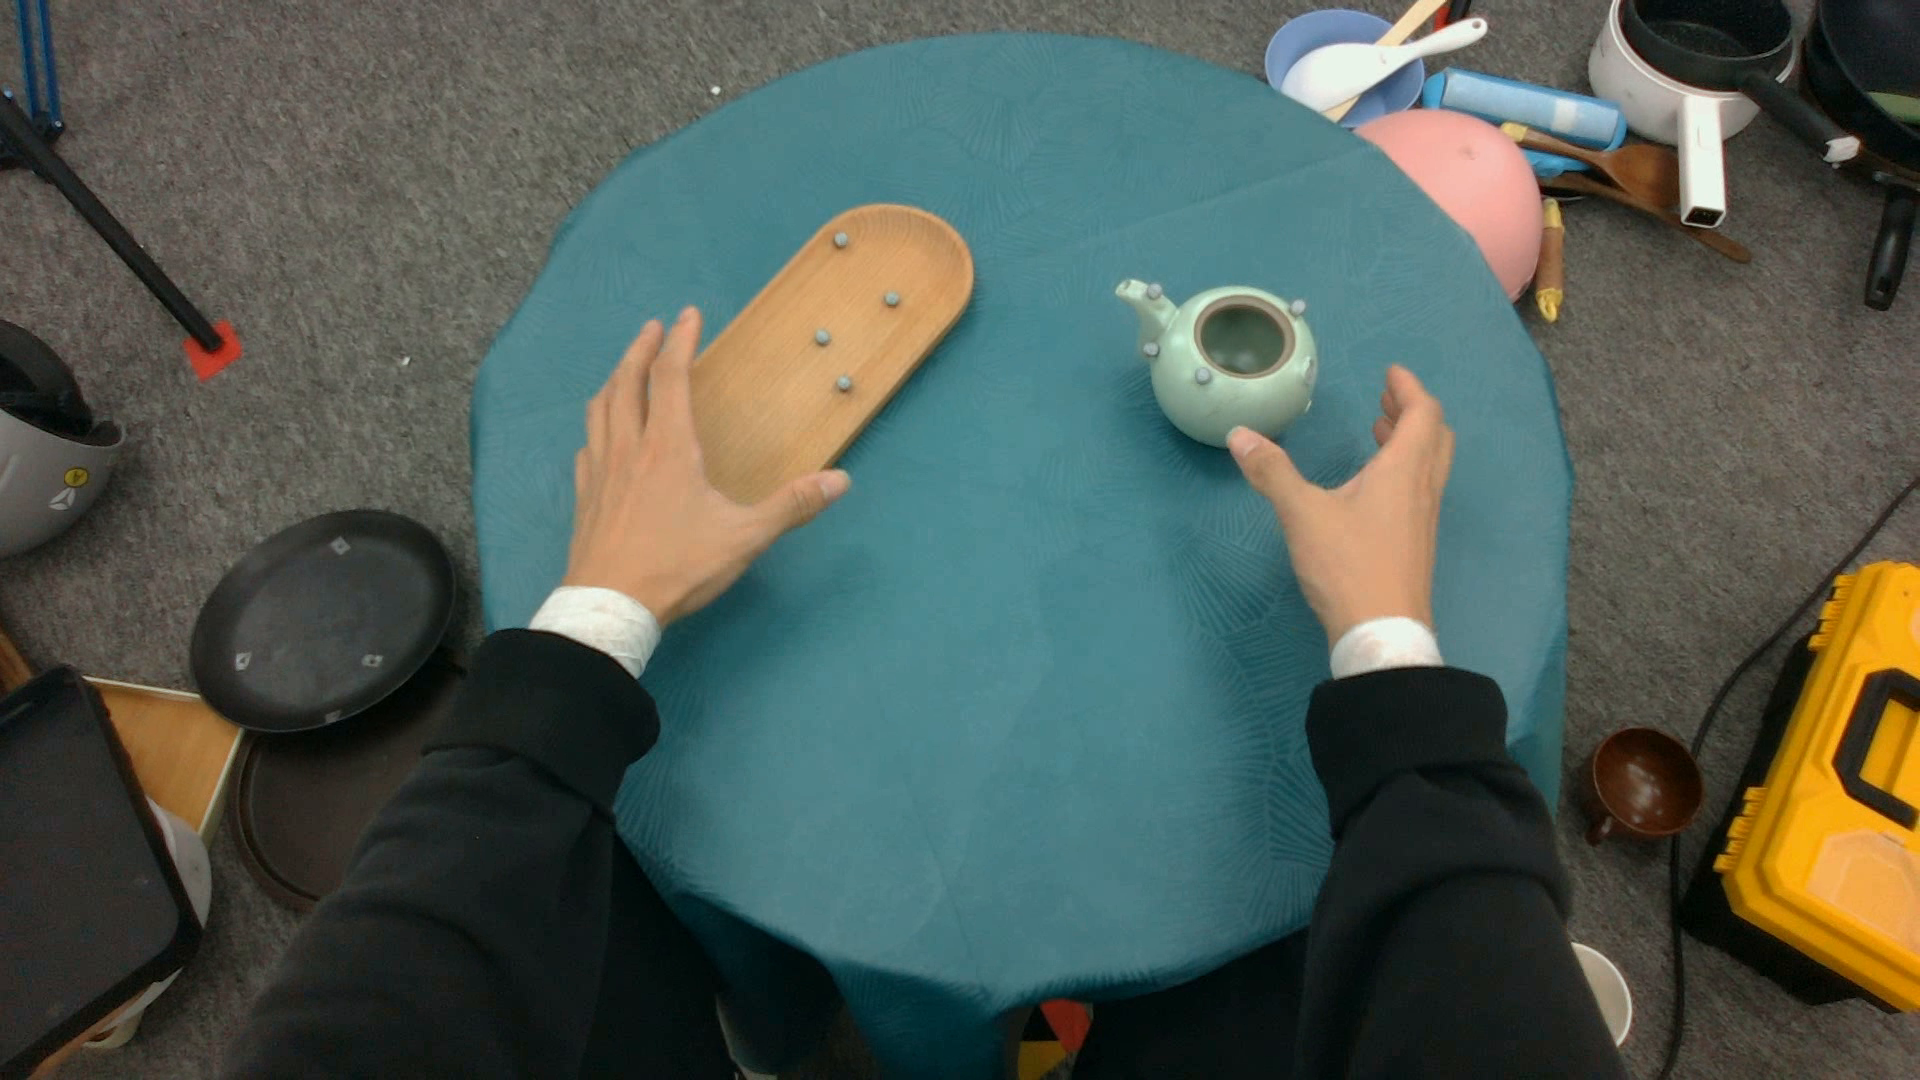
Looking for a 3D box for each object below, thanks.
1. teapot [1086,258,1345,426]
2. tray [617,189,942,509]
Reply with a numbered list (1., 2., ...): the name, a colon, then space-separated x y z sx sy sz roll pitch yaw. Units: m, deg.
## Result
1. teapot: 0.133 -0.105 0.742 0.144 0.074 0.088 23 66 12
2. tray: -0.098 -0.111 0.772 0.101 0.020 0.232 31 69 15
